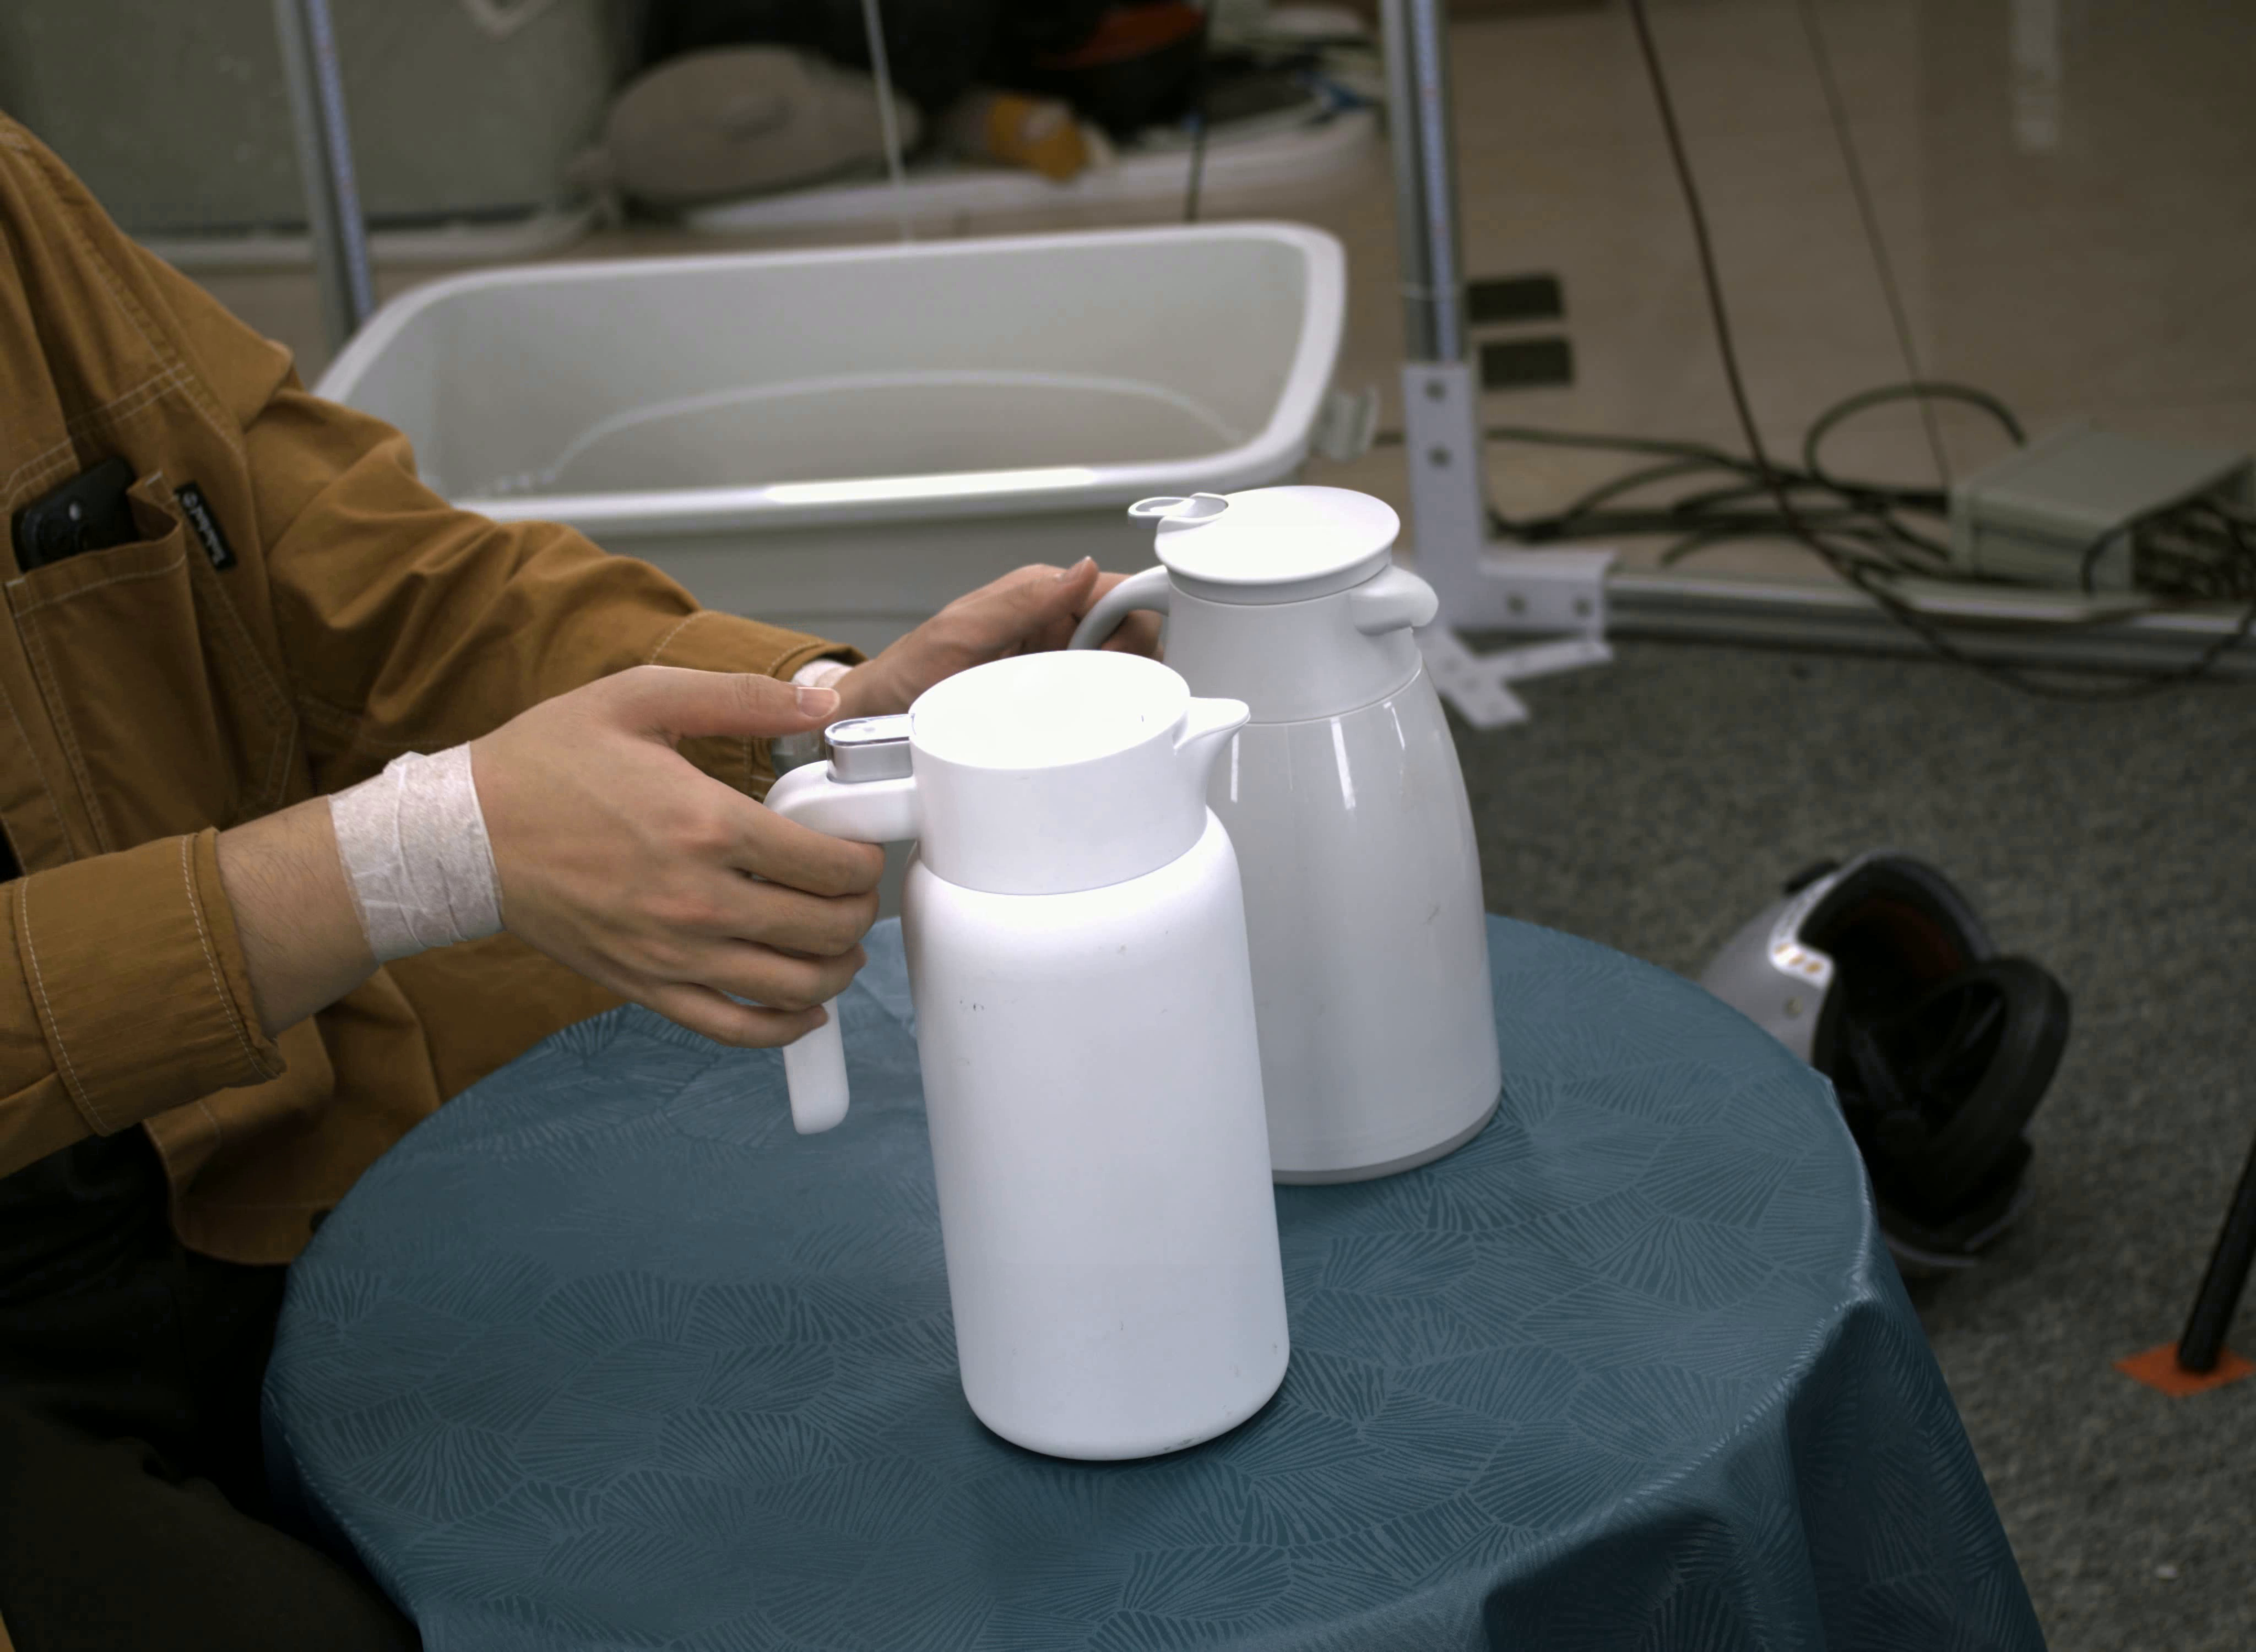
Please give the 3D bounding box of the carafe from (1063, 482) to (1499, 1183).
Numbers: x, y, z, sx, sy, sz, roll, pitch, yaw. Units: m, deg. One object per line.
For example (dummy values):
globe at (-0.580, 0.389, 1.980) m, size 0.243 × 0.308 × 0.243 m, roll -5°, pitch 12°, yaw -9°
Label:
carafe at (0.050, -0.007, 2.150) m, size 0.167 × 0.252 × 0.131 m, roll 10°, pitch 30°, yaw 32°

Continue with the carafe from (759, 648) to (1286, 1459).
carafe at (-0.031, 0.081, 1.959) m, size 0.172 × 0.273 × 0.122 m, roll -7°, pitch 28°, yaw 0°
